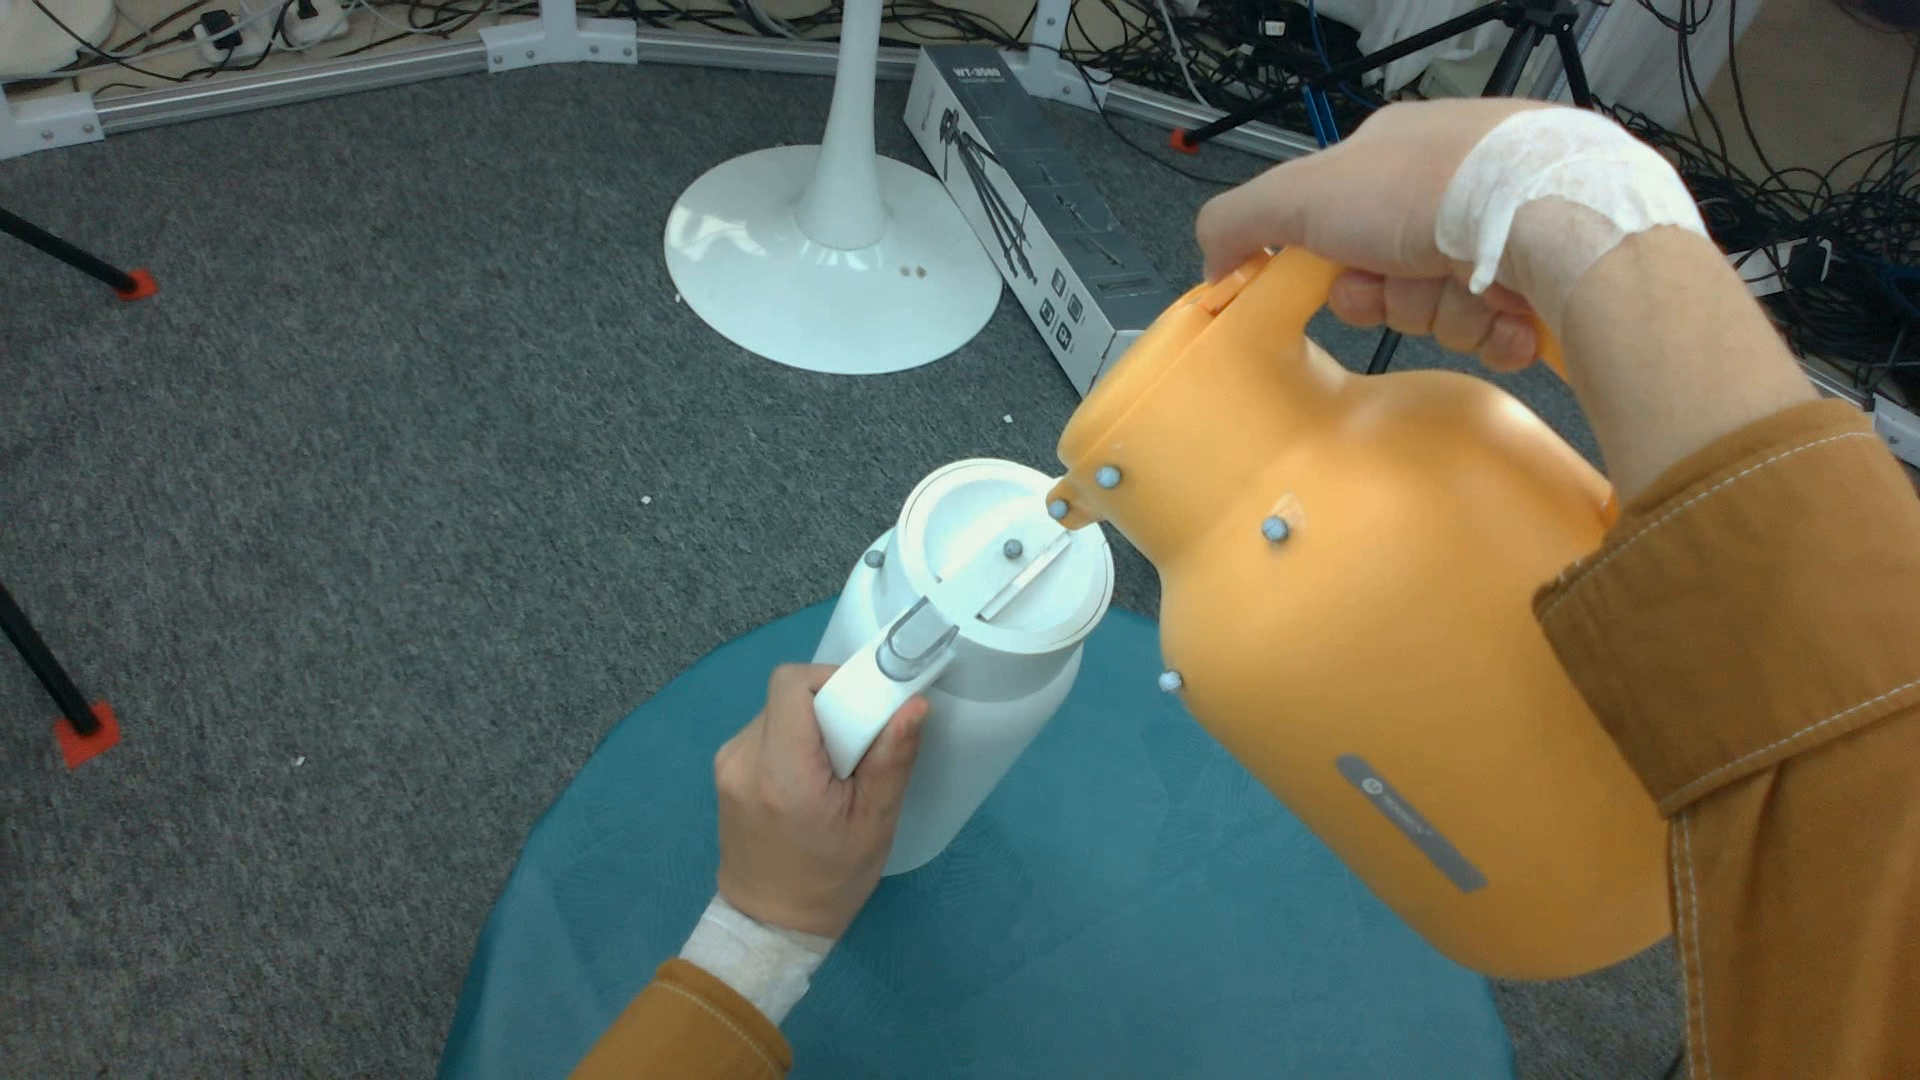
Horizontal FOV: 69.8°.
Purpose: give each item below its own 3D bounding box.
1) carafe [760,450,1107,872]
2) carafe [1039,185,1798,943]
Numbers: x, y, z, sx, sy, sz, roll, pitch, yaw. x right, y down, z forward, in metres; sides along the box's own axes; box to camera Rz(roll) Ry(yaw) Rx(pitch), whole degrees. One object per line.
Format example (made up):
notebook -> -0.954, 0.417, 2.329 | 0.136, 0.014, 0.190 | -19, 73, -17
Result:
carafe -> -0.029, 0.080, 0.685 | 0.124, 0.267, 0.173 | 42, 54, 7
carafe -> 0.161, 0.003, 0.489 | 0.260, 0.201, 0.164 | 39, 46, -1
